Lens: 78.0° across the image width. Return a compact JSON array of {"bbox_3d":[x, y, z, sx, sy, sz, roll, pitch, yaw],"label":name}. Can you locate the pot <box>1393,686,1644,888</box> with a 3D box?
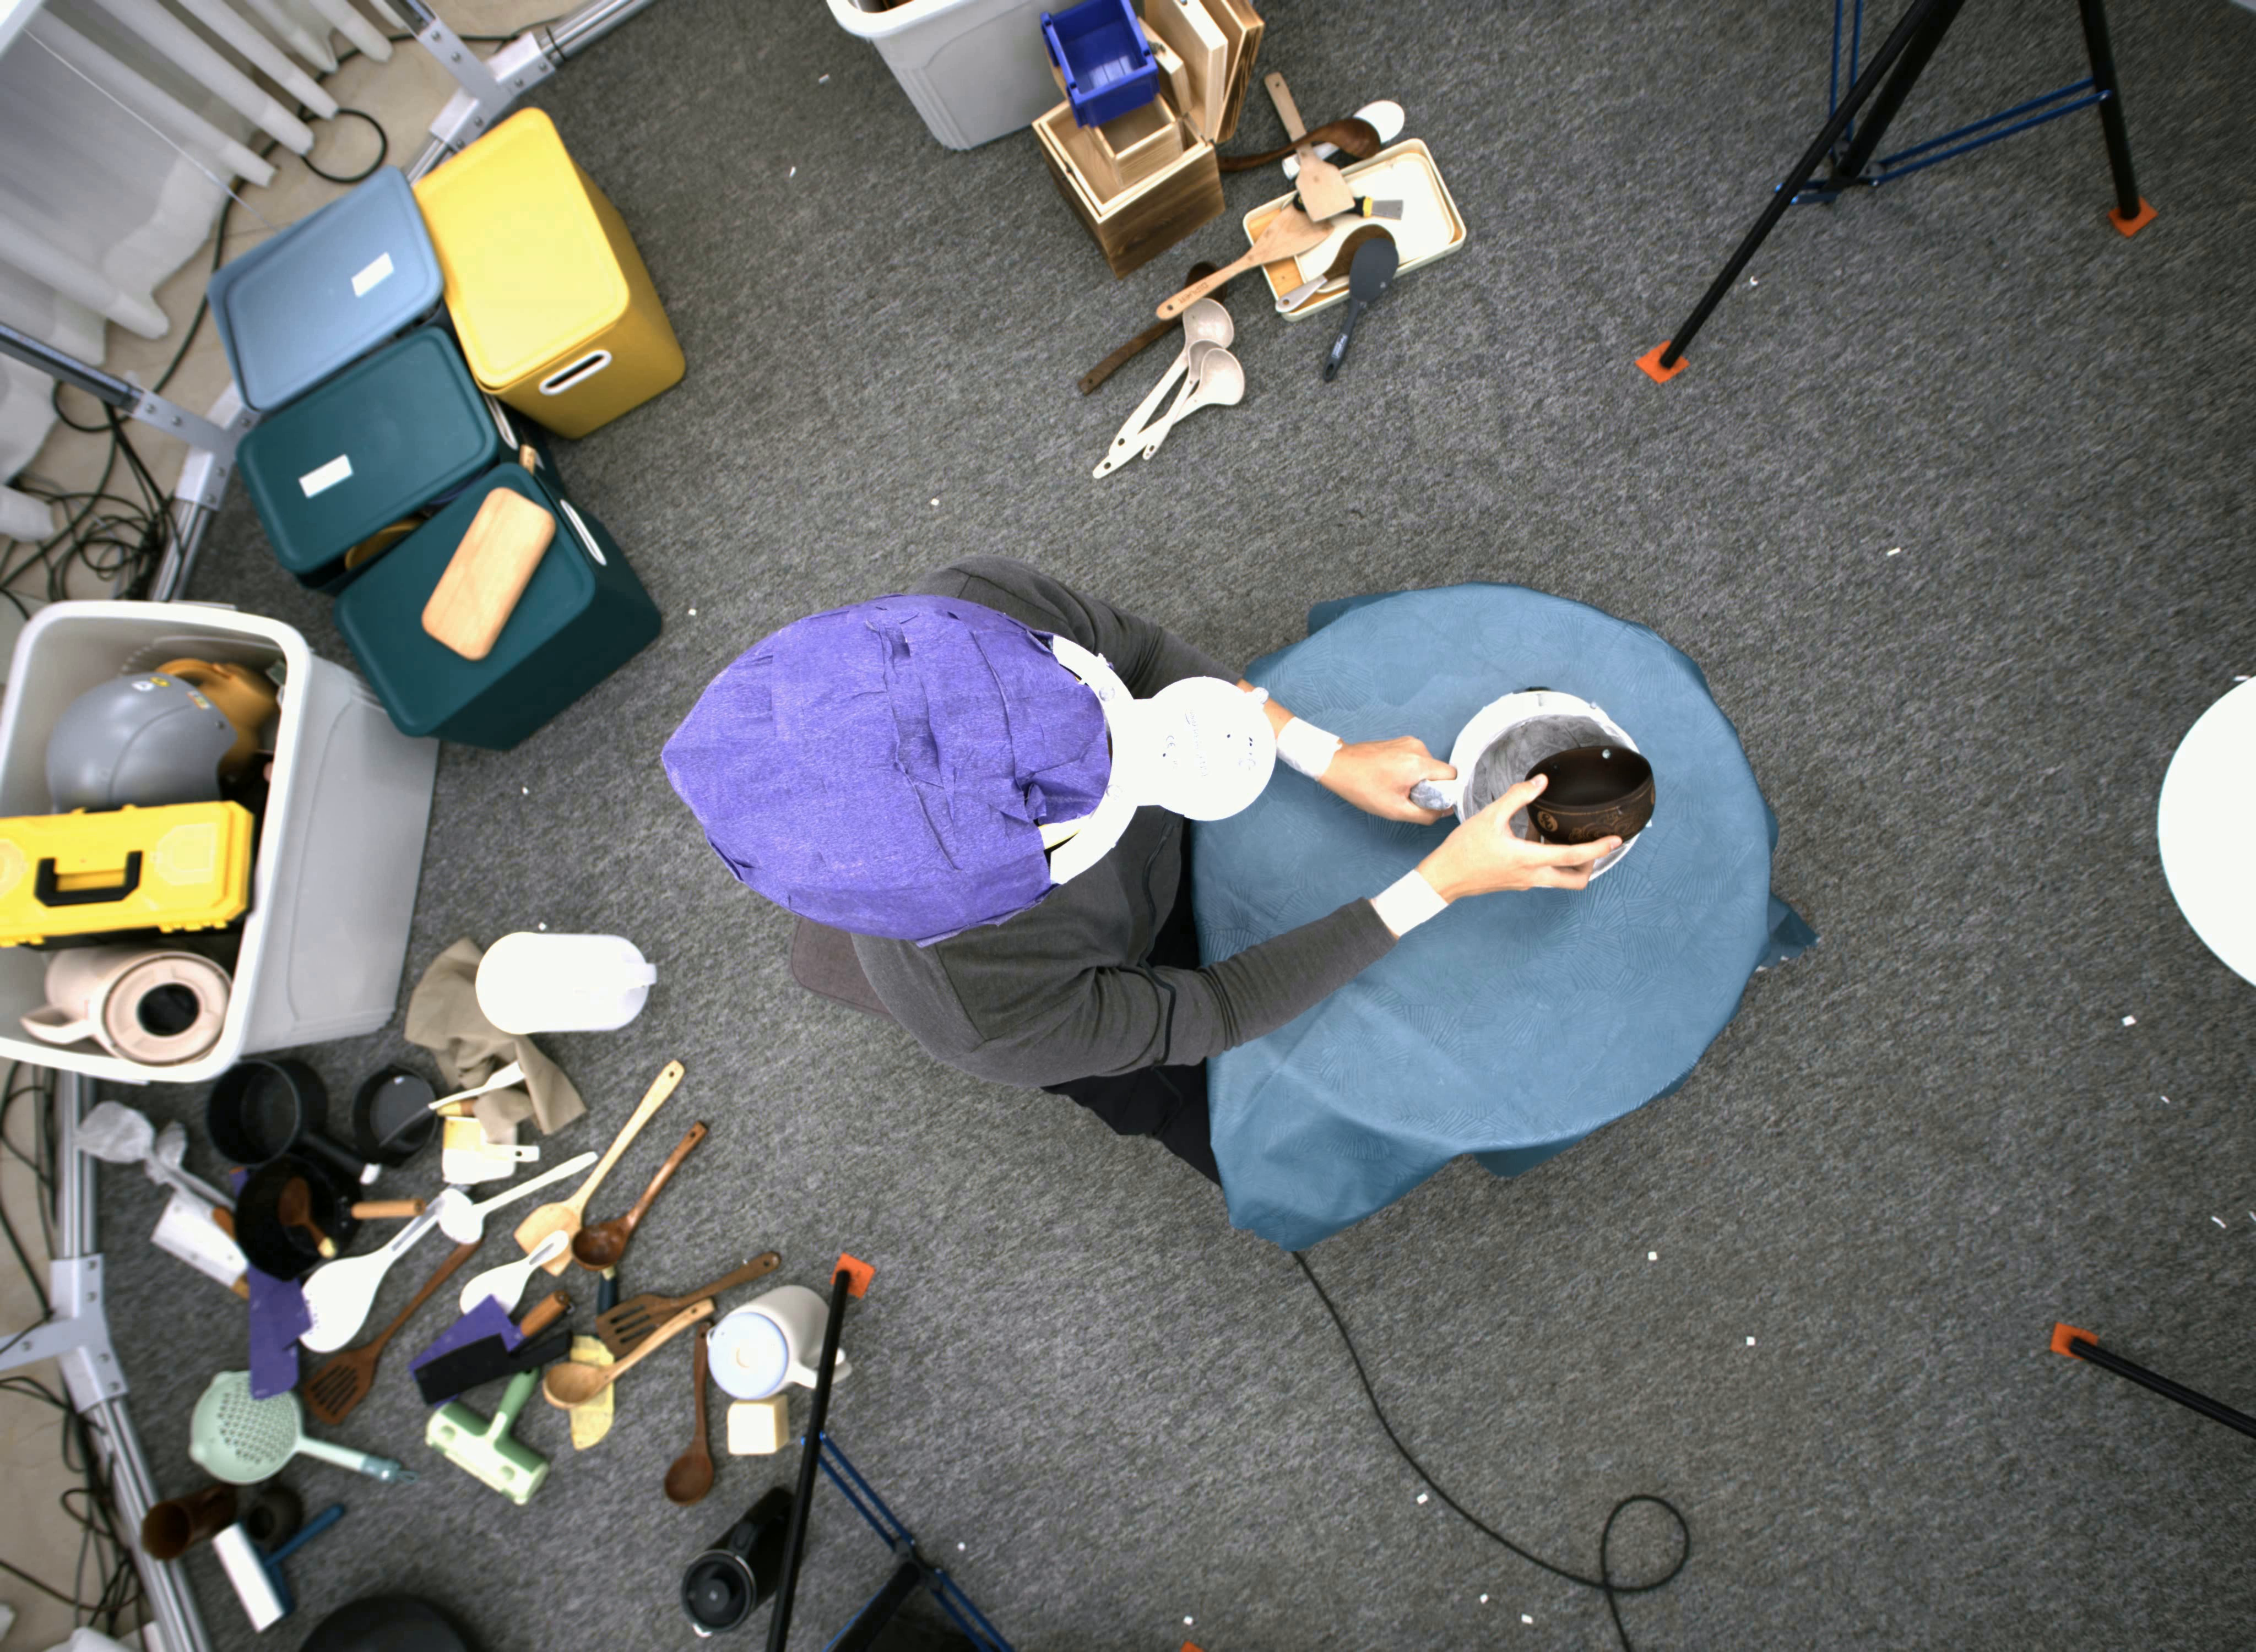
[{"bbox_3d":[0.382,-0.043,1.358,0.234,0.134,0.181,-2,105,9],"label":"pot"}]

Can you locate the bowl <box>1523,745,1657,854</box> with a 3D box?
[{"bbox_3d":[0.431,-0.020,1.272,0.118,0.115,0.071,-16,118,8],"label":"bowl"}]
